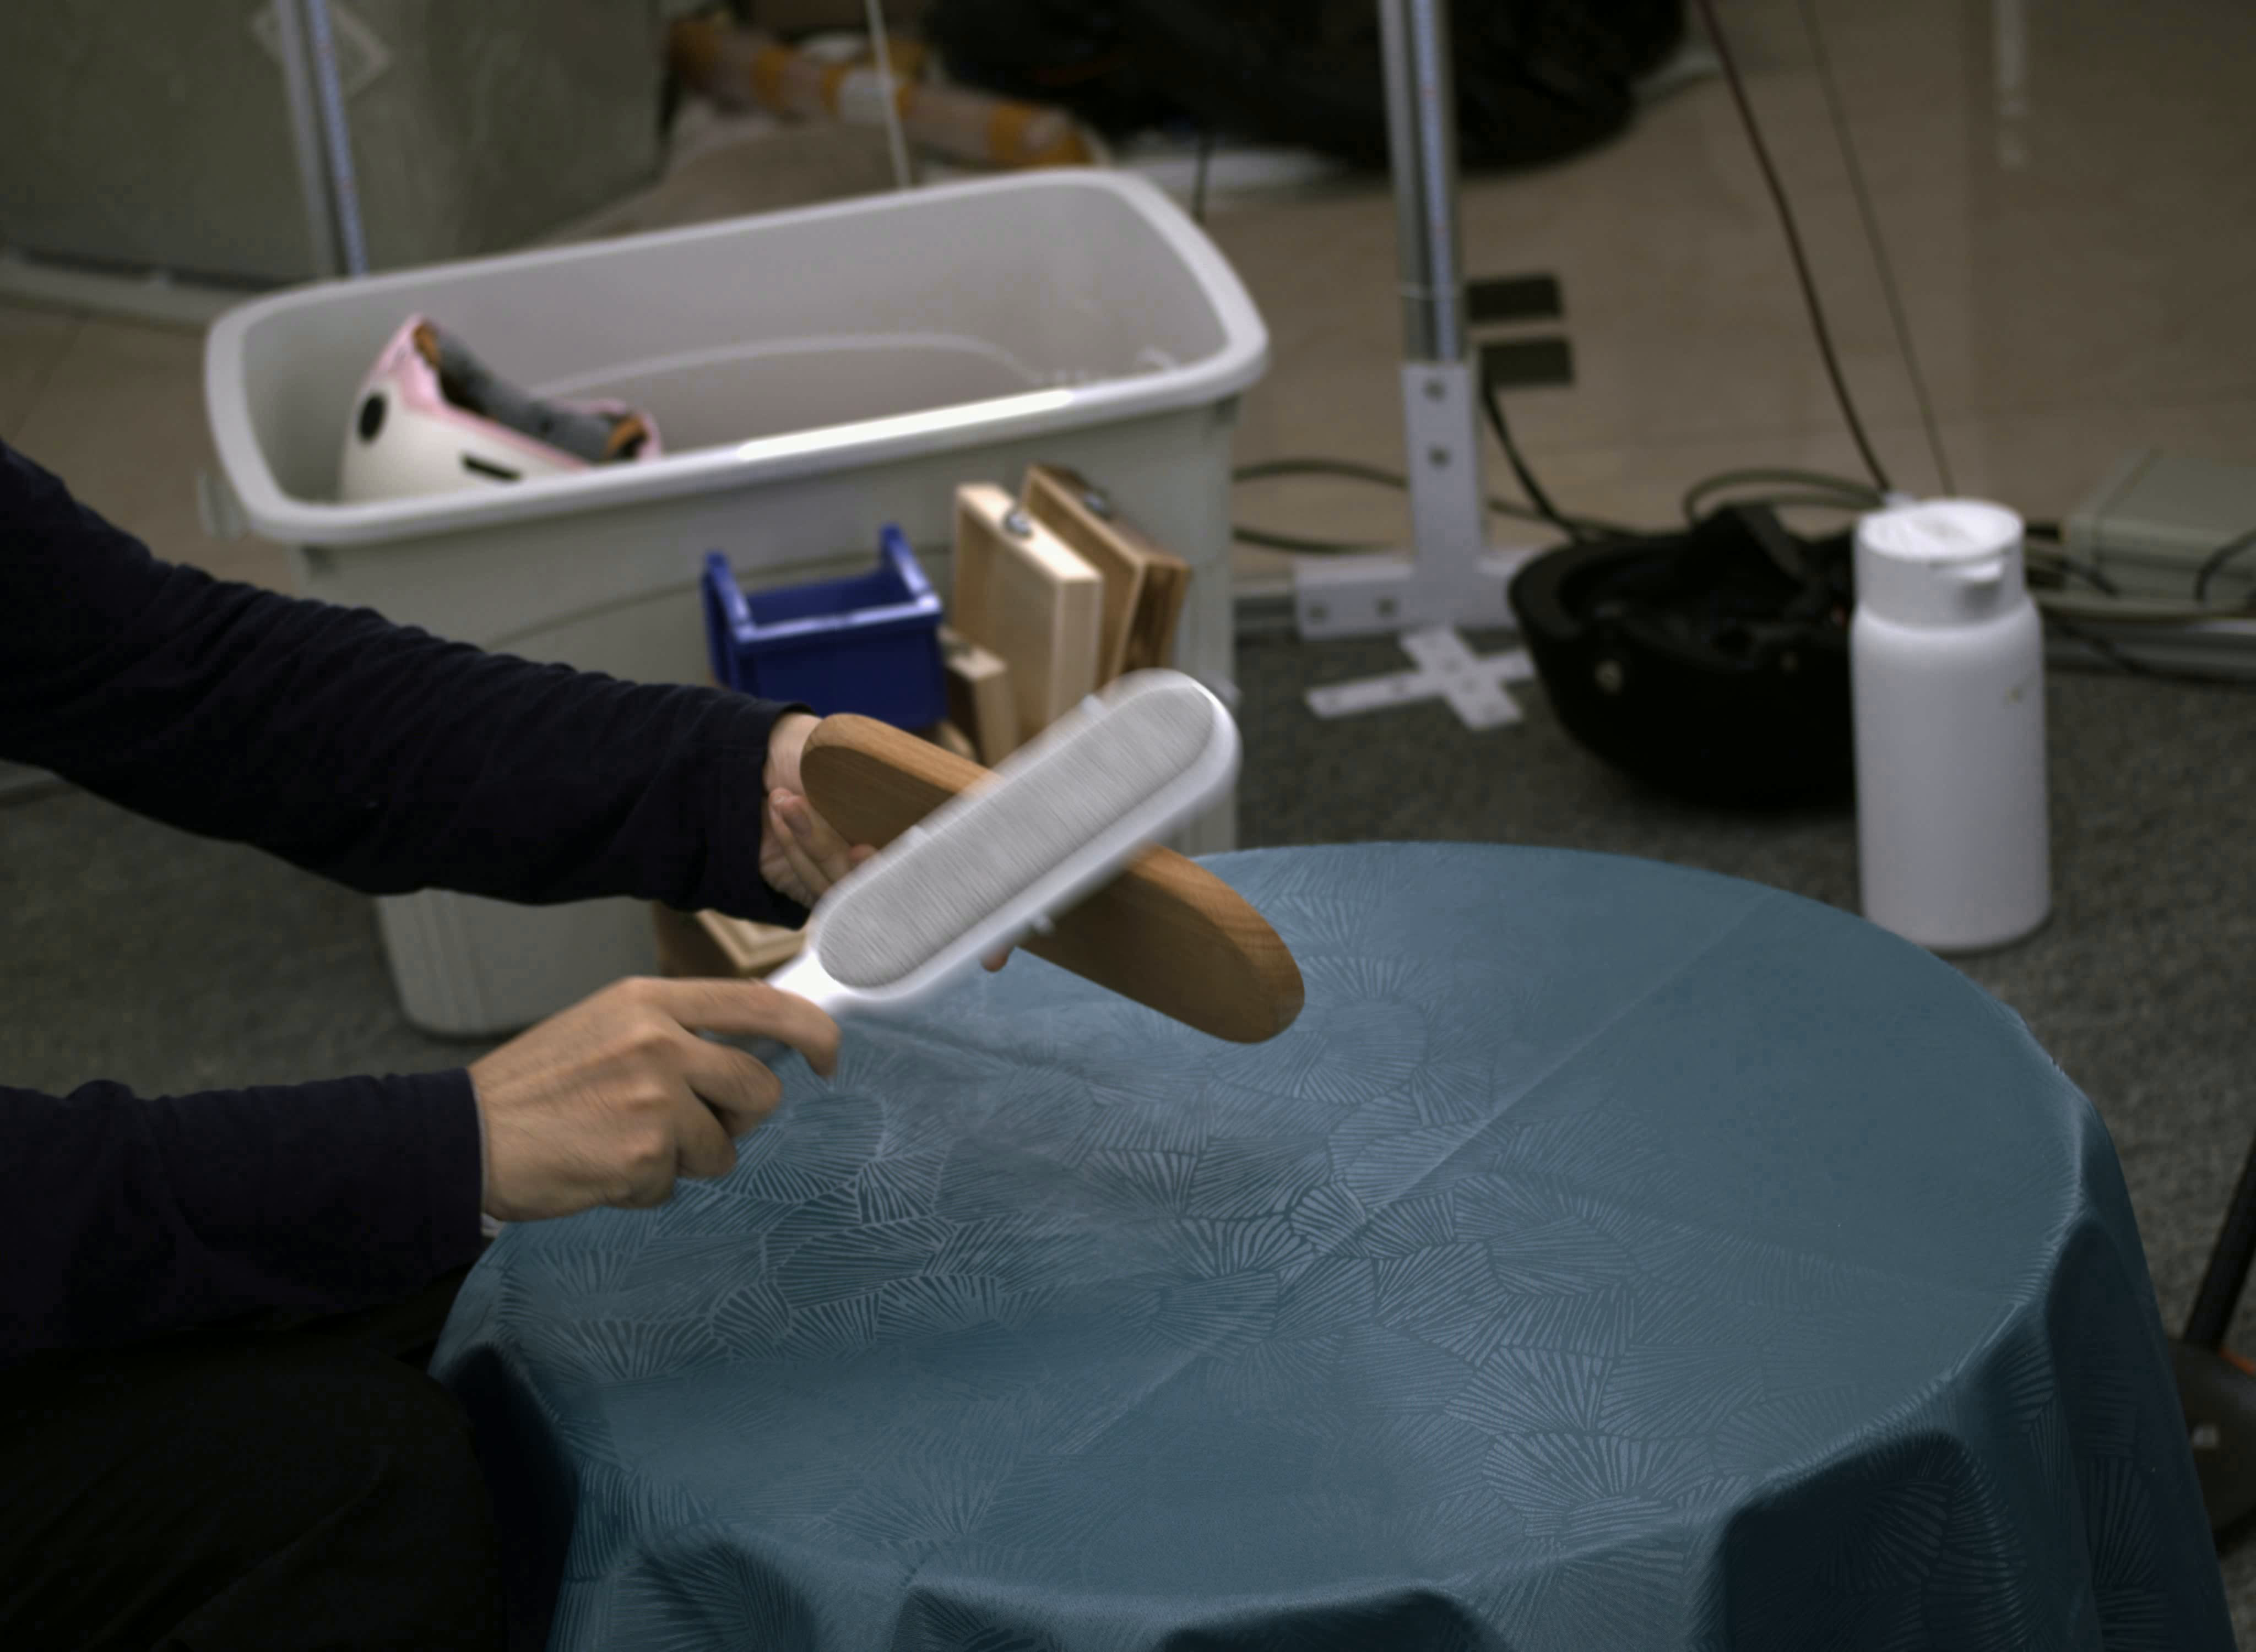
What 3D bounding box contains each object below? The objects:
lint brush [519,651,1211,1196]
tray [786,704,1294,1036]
[{"bbox_3d":[-0.097,0.036,2.075,0.308,0.021,0.059,-37,62,-7],"label":"lint brush"},{"bbox_3d":[-0.036,0.018,2.143,0.229,0.103,0.020,22,58,27],"label":"tray"}]
